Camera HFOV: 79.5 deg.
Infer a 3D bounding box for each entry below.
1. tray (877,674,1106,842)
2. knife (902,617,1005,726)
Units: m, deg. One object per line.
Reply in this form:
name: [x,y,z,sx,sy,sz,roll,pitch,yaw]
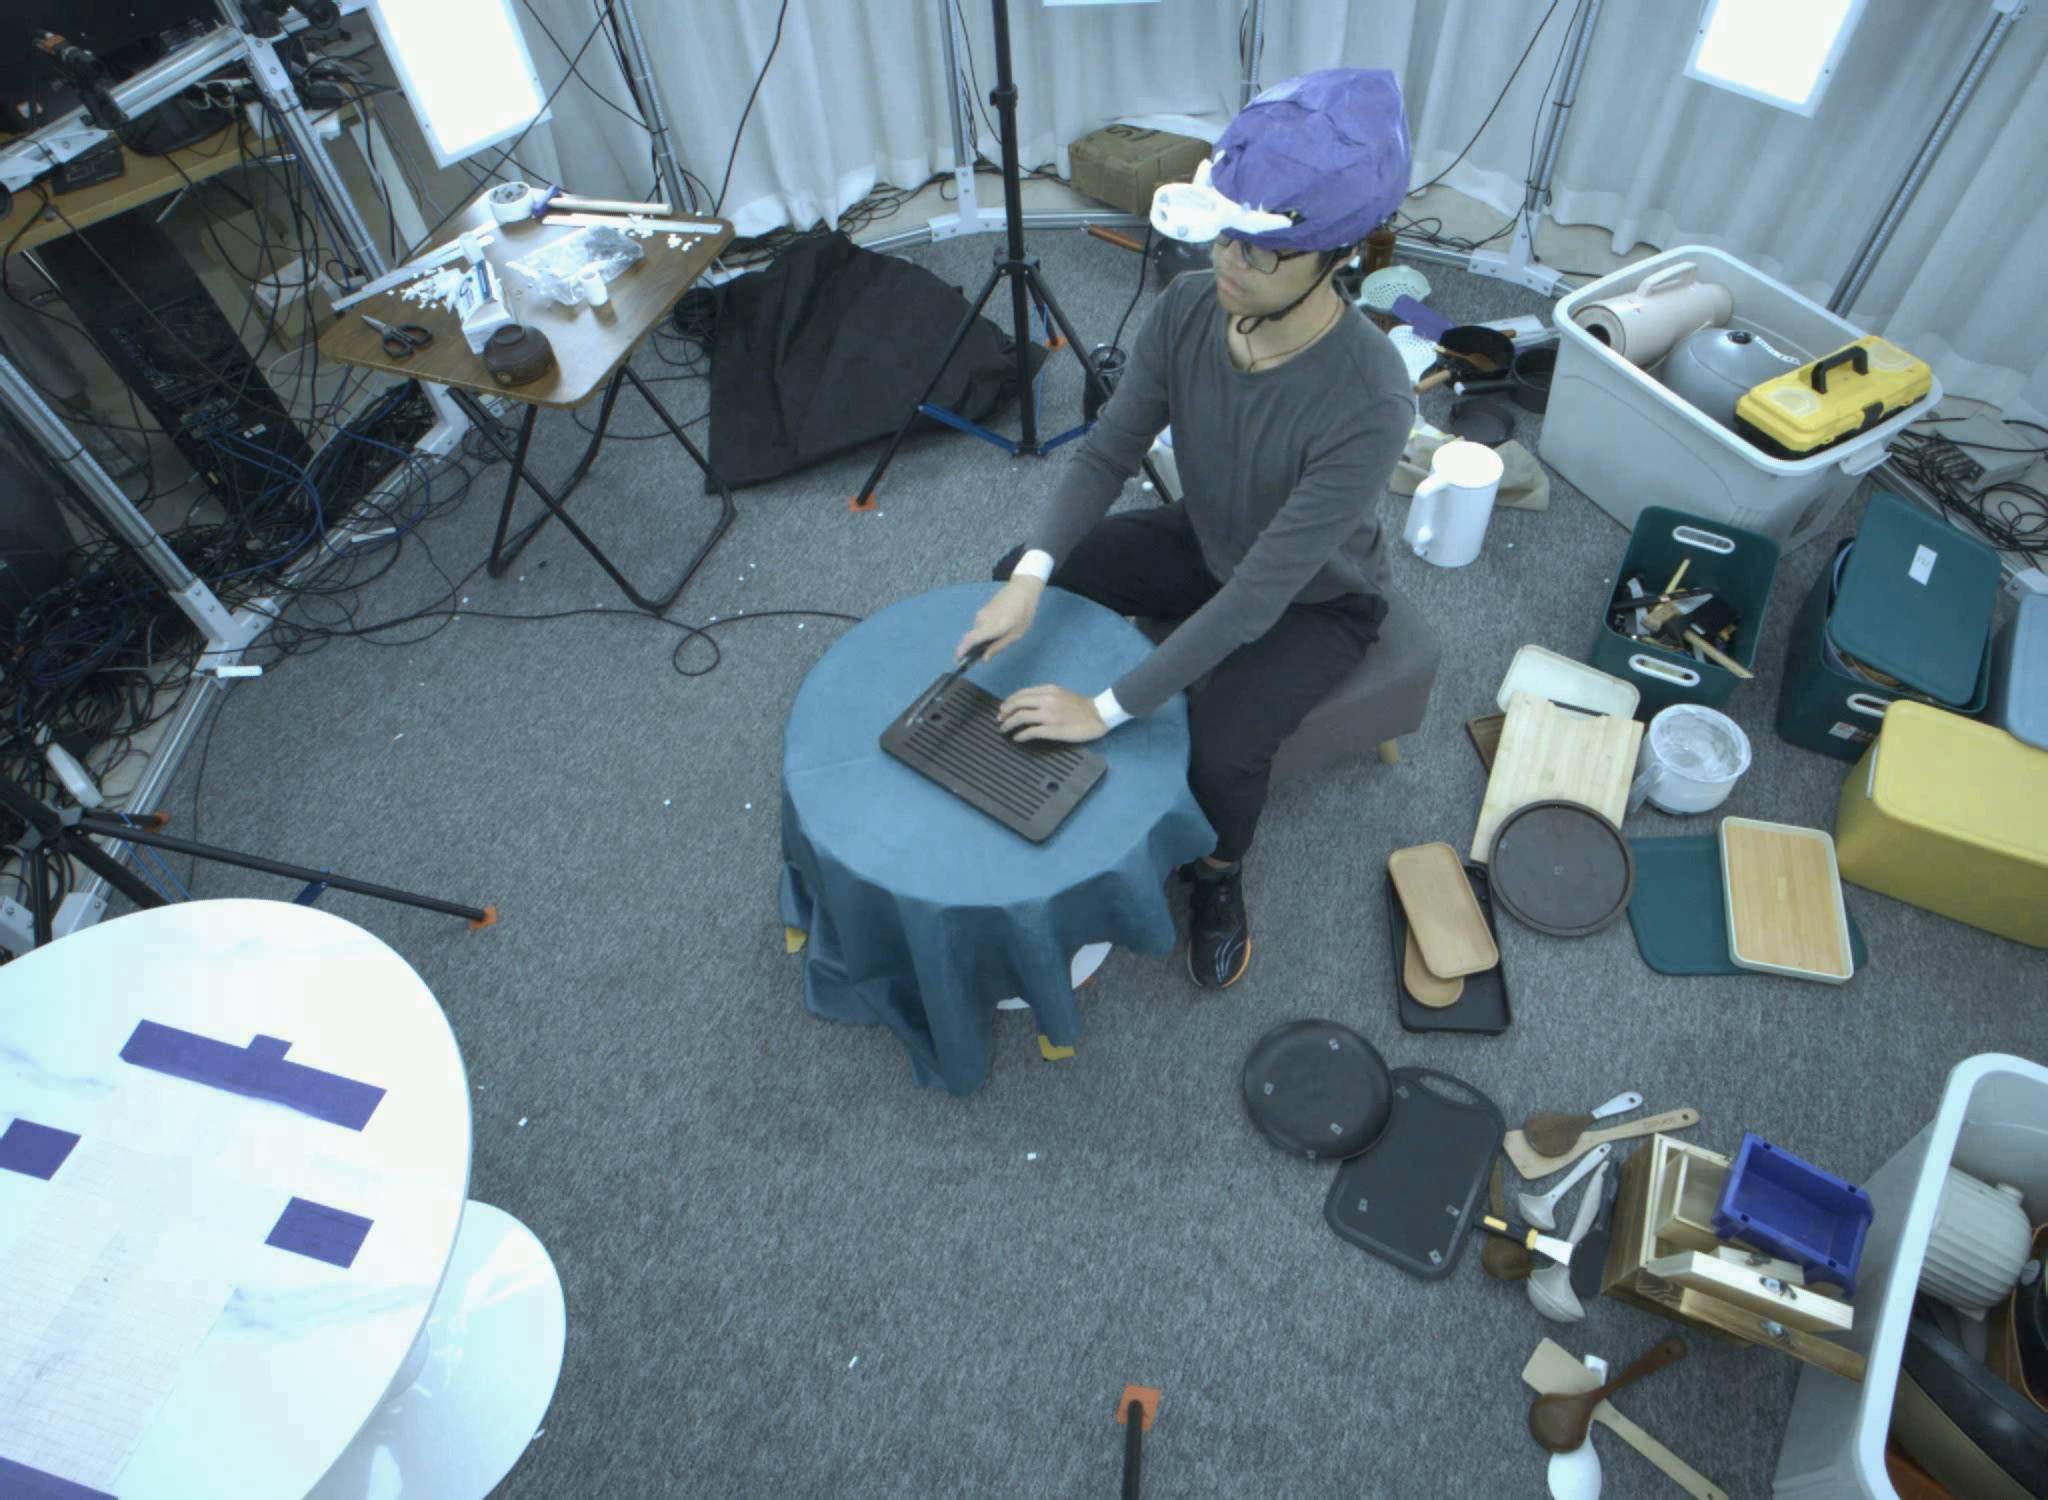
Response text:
tray: [-0.048,0.008,1.780,0.301,0.019,0.171,31,60,21]
knife: [-0.103,-0.117,1.781,0.016,0.024,0.239,31,61,18]
